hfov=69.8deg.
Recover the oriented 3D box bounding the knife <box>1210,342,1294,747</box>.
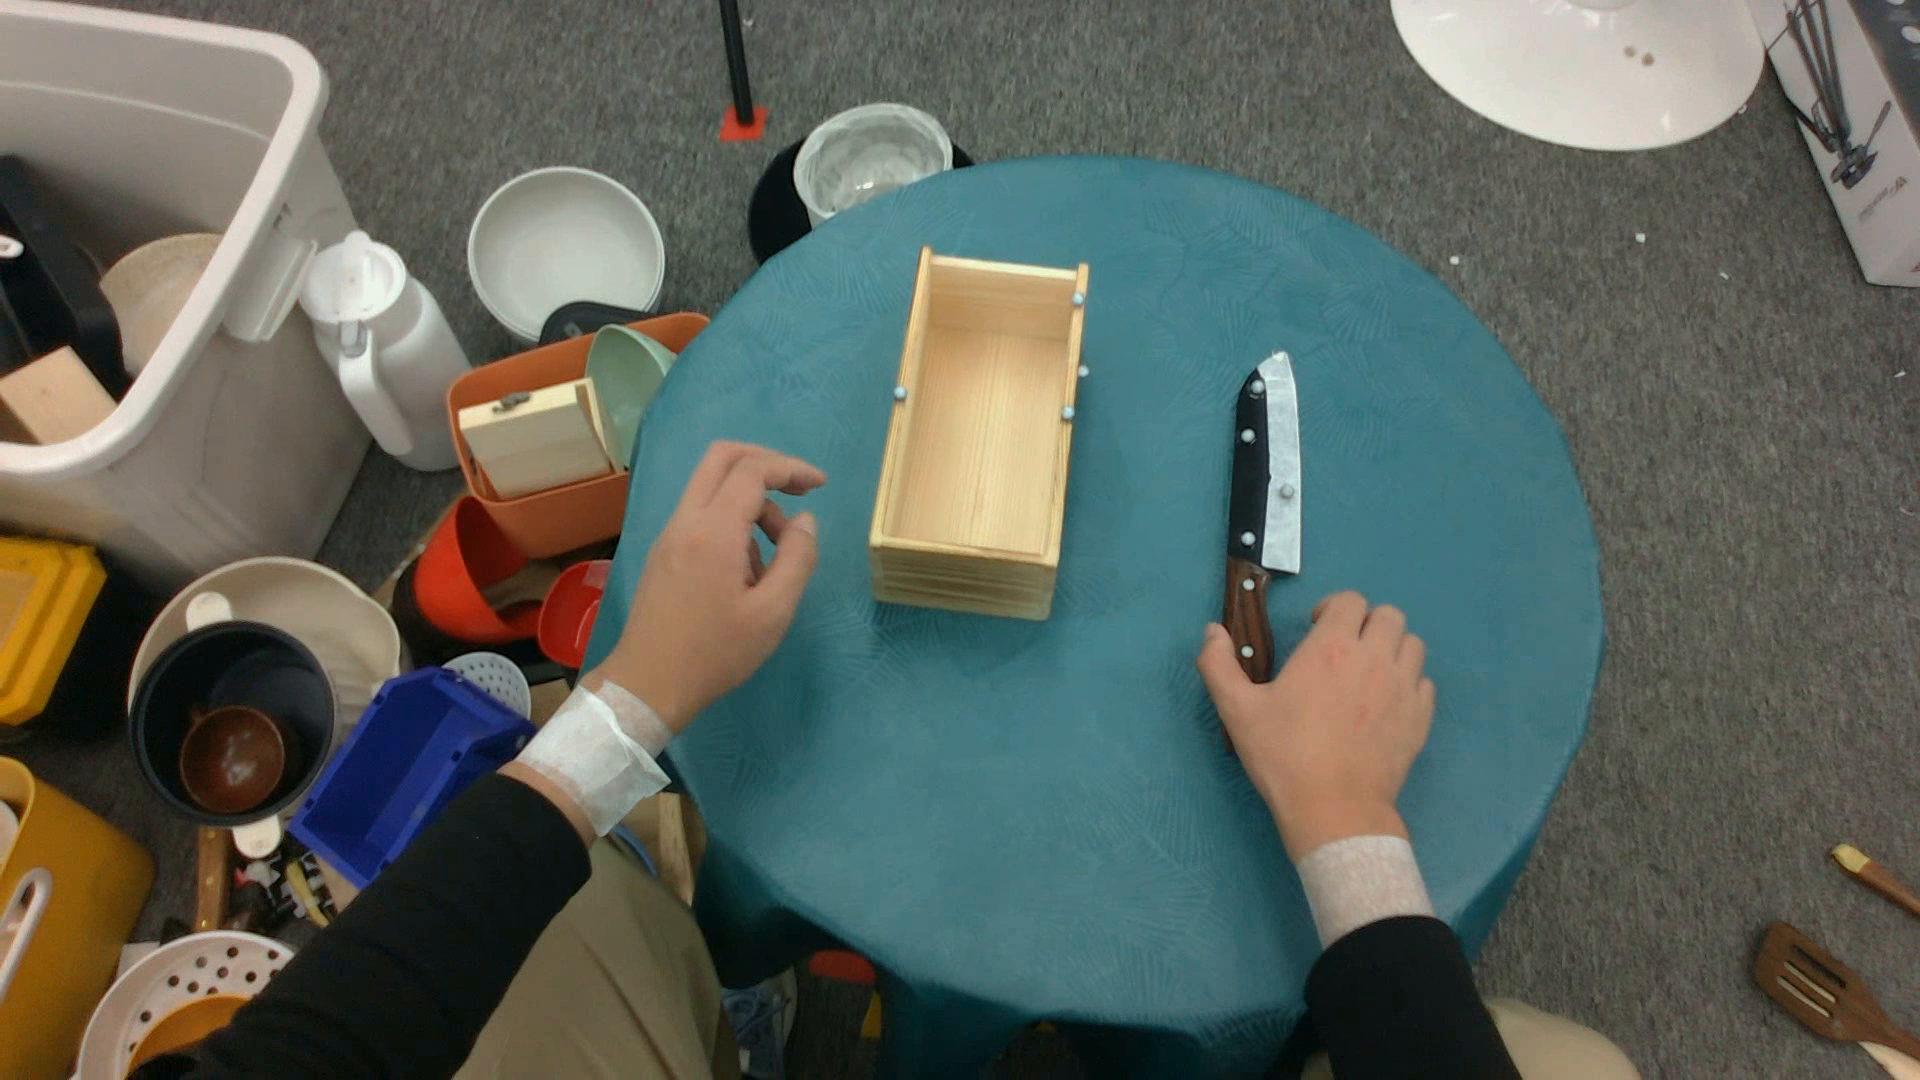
[{"bbox_3d":[0.180,-0.008,0.840,0.050,0.020,0.290,13,61,-1],"label":"knife"}]

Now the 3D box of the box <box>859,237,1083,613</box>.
[{"bbox_3d":[0.010,-0.072,0.832,0.107,0.080,0.212,7,62,3],"label":"box"}]
